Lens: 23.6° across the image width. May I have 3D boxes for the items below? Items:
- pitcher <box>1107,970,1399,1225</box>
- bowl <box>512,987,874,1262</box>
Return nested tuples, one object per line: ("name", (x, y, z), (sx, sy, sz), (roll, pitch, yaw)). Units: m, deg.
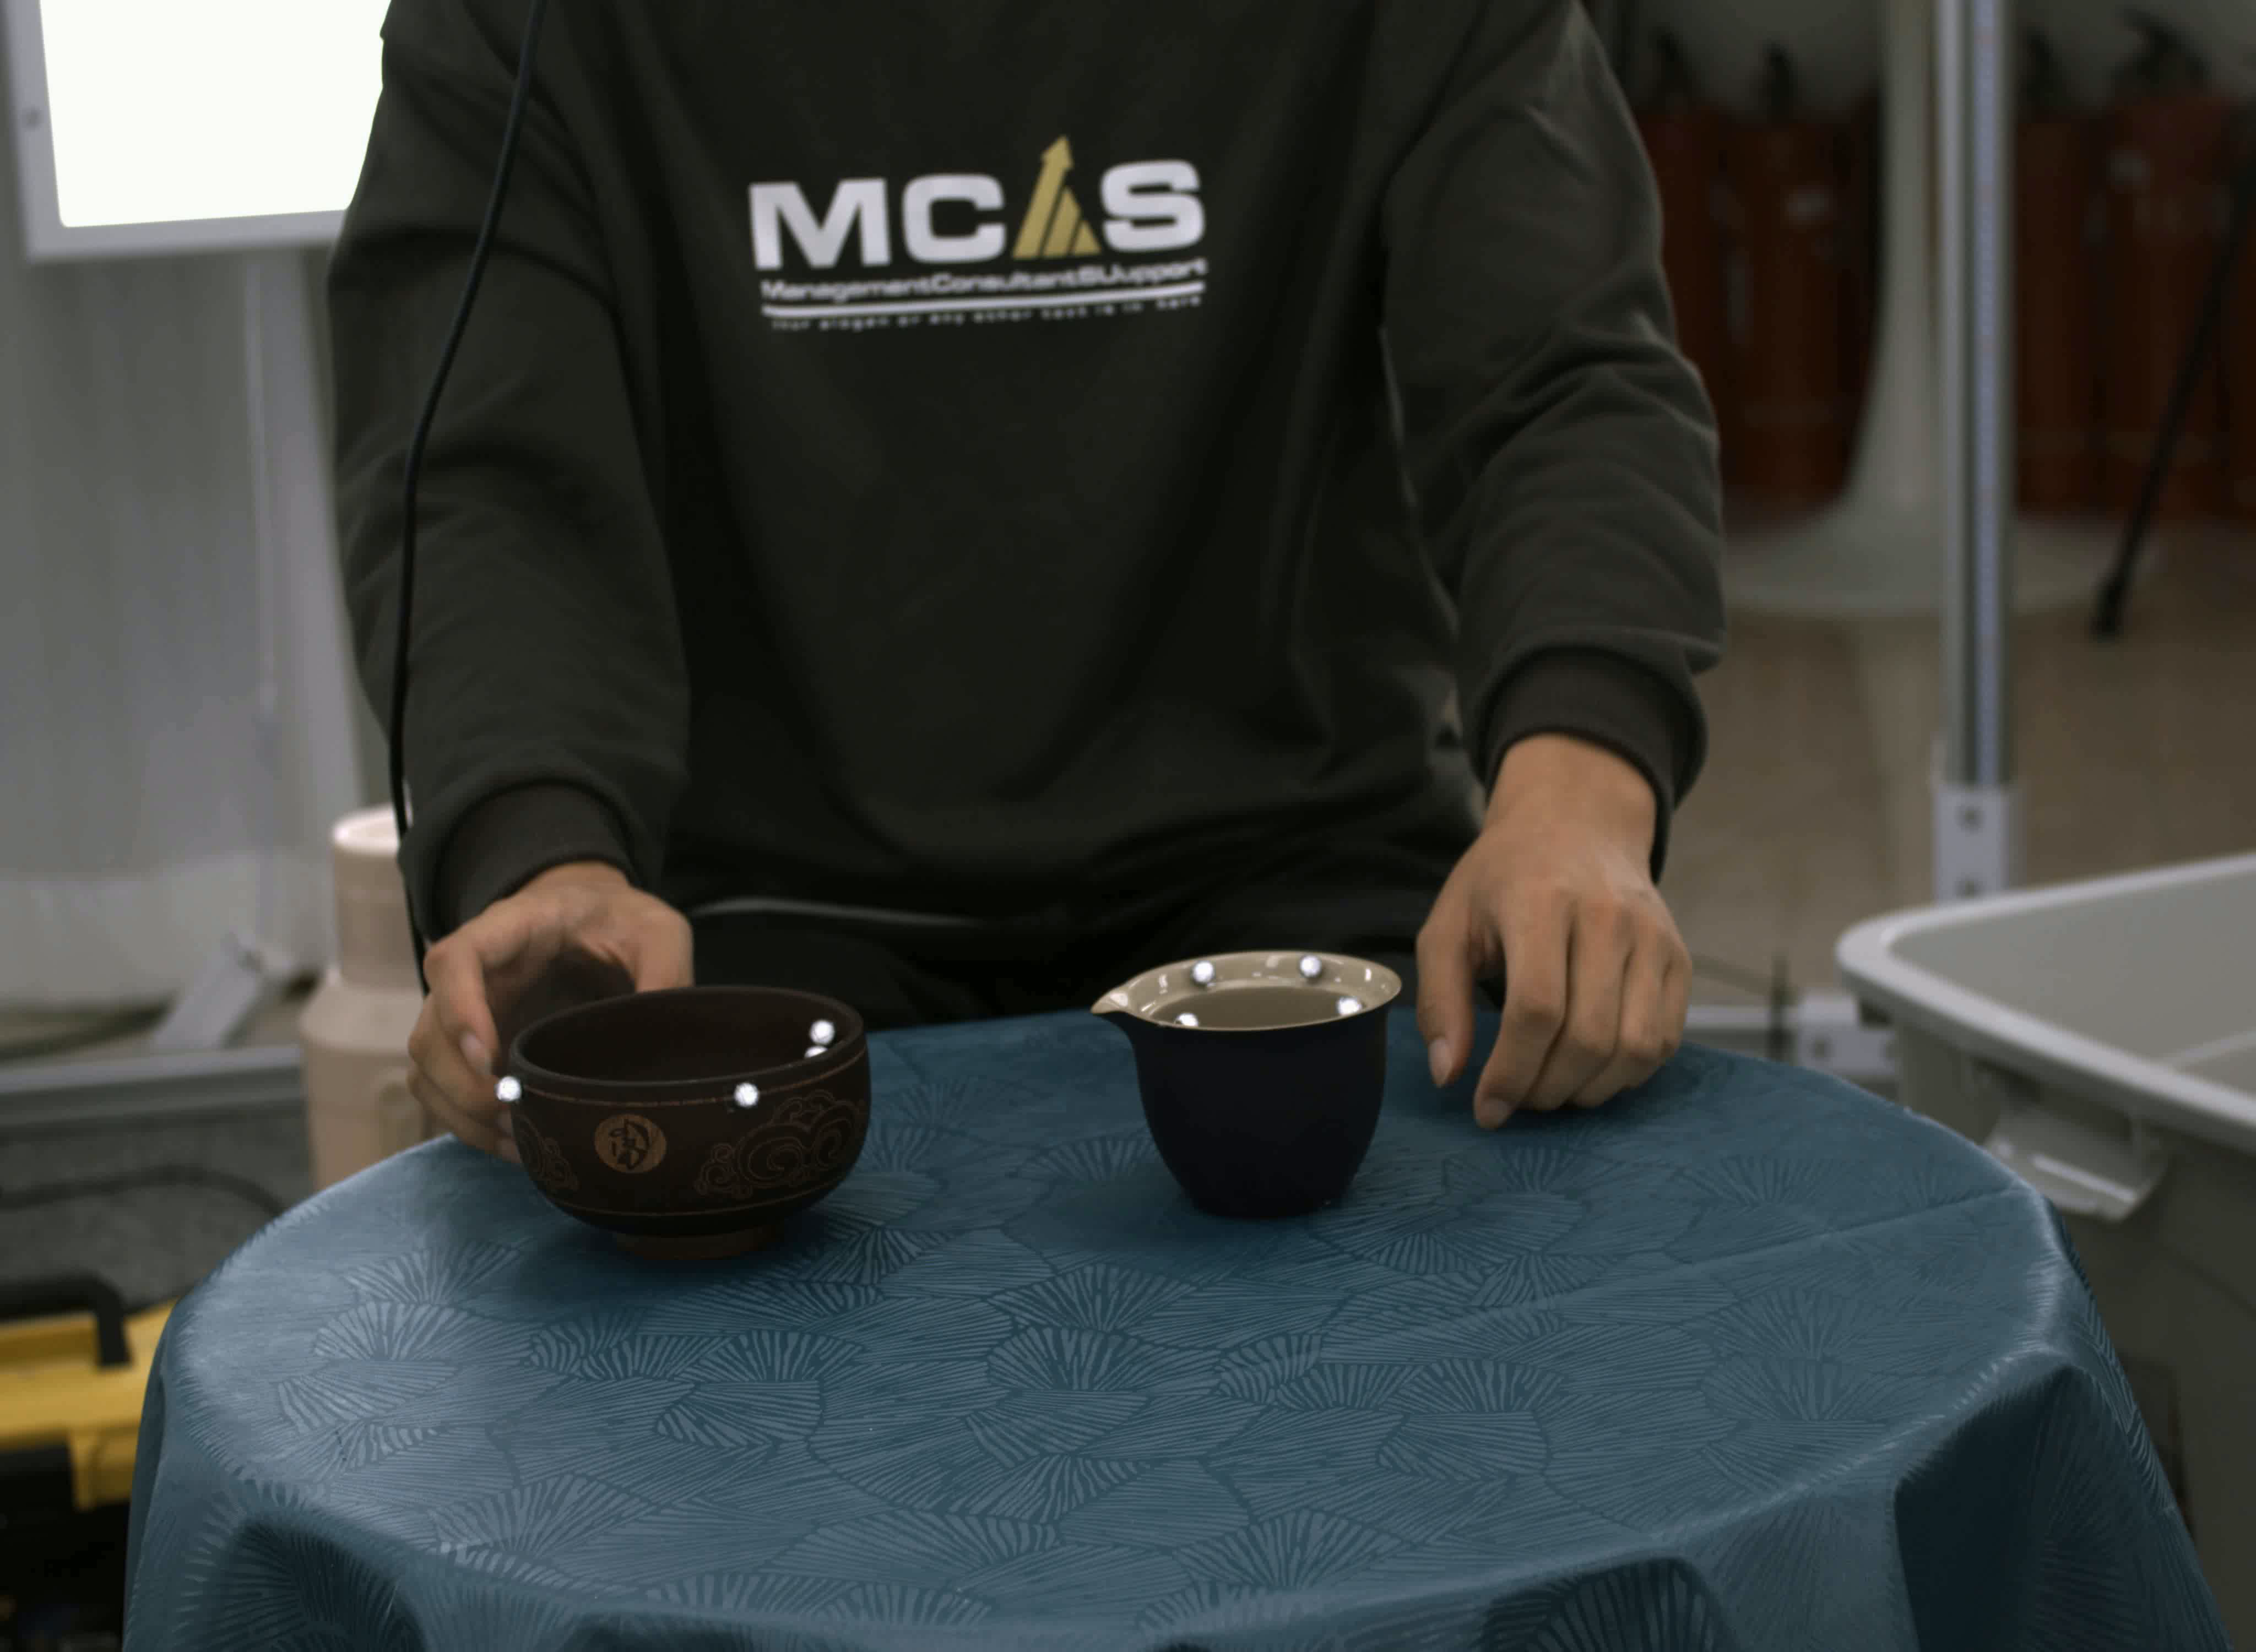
("pitcher", (0.043, 0.088, 1.750), (0.095, 0.072, 0.083), (-3, 15, 5))
("bowl", (-0.139, 0.100, 1.749), (0.116, 0.070, 0.118), (-3, 12, 0))
